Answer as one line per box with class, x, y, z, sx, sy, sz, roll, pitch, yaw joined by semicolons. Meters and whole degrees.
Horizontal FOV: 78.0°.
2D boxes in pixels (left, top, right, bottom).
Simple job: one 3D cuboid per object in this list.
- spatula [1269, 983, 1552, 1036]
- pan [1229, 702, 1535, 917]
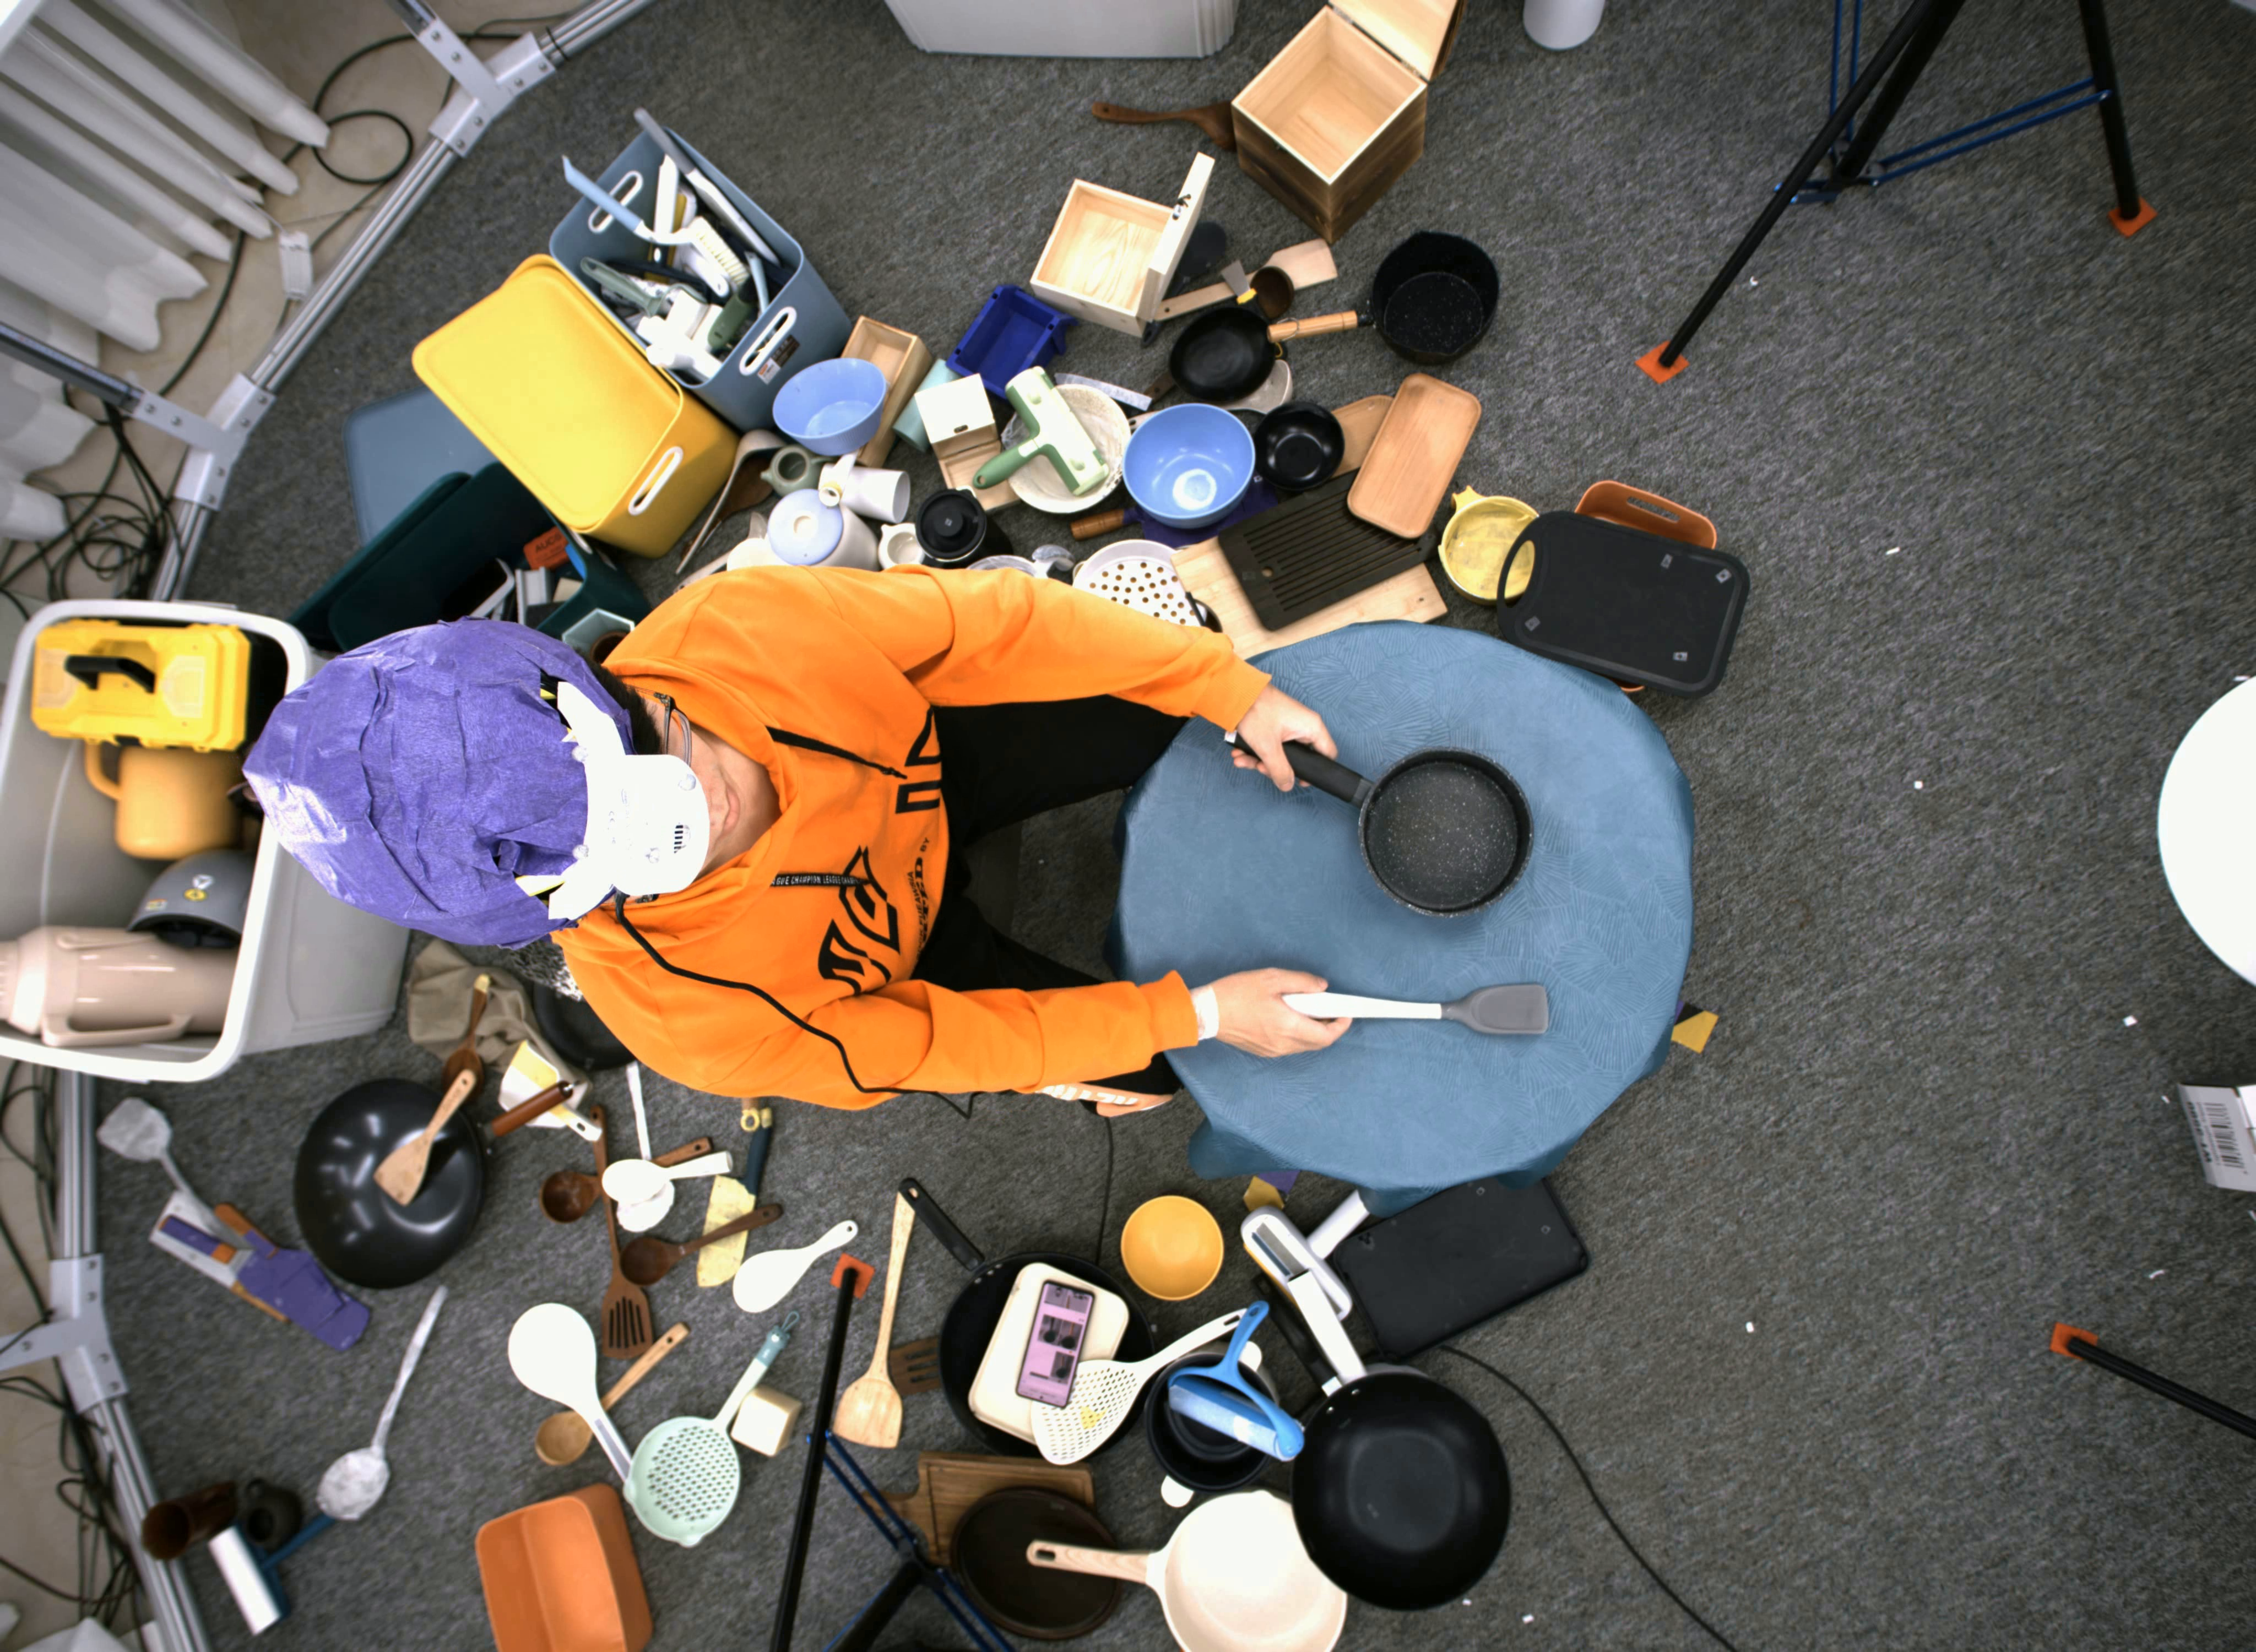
spatula;0.290;0.187;1.427;0.288;0.033;0.057;0;64;5
pan;0.253;-0.032;1.415;0.328;0.086;0.172;29;92;8
